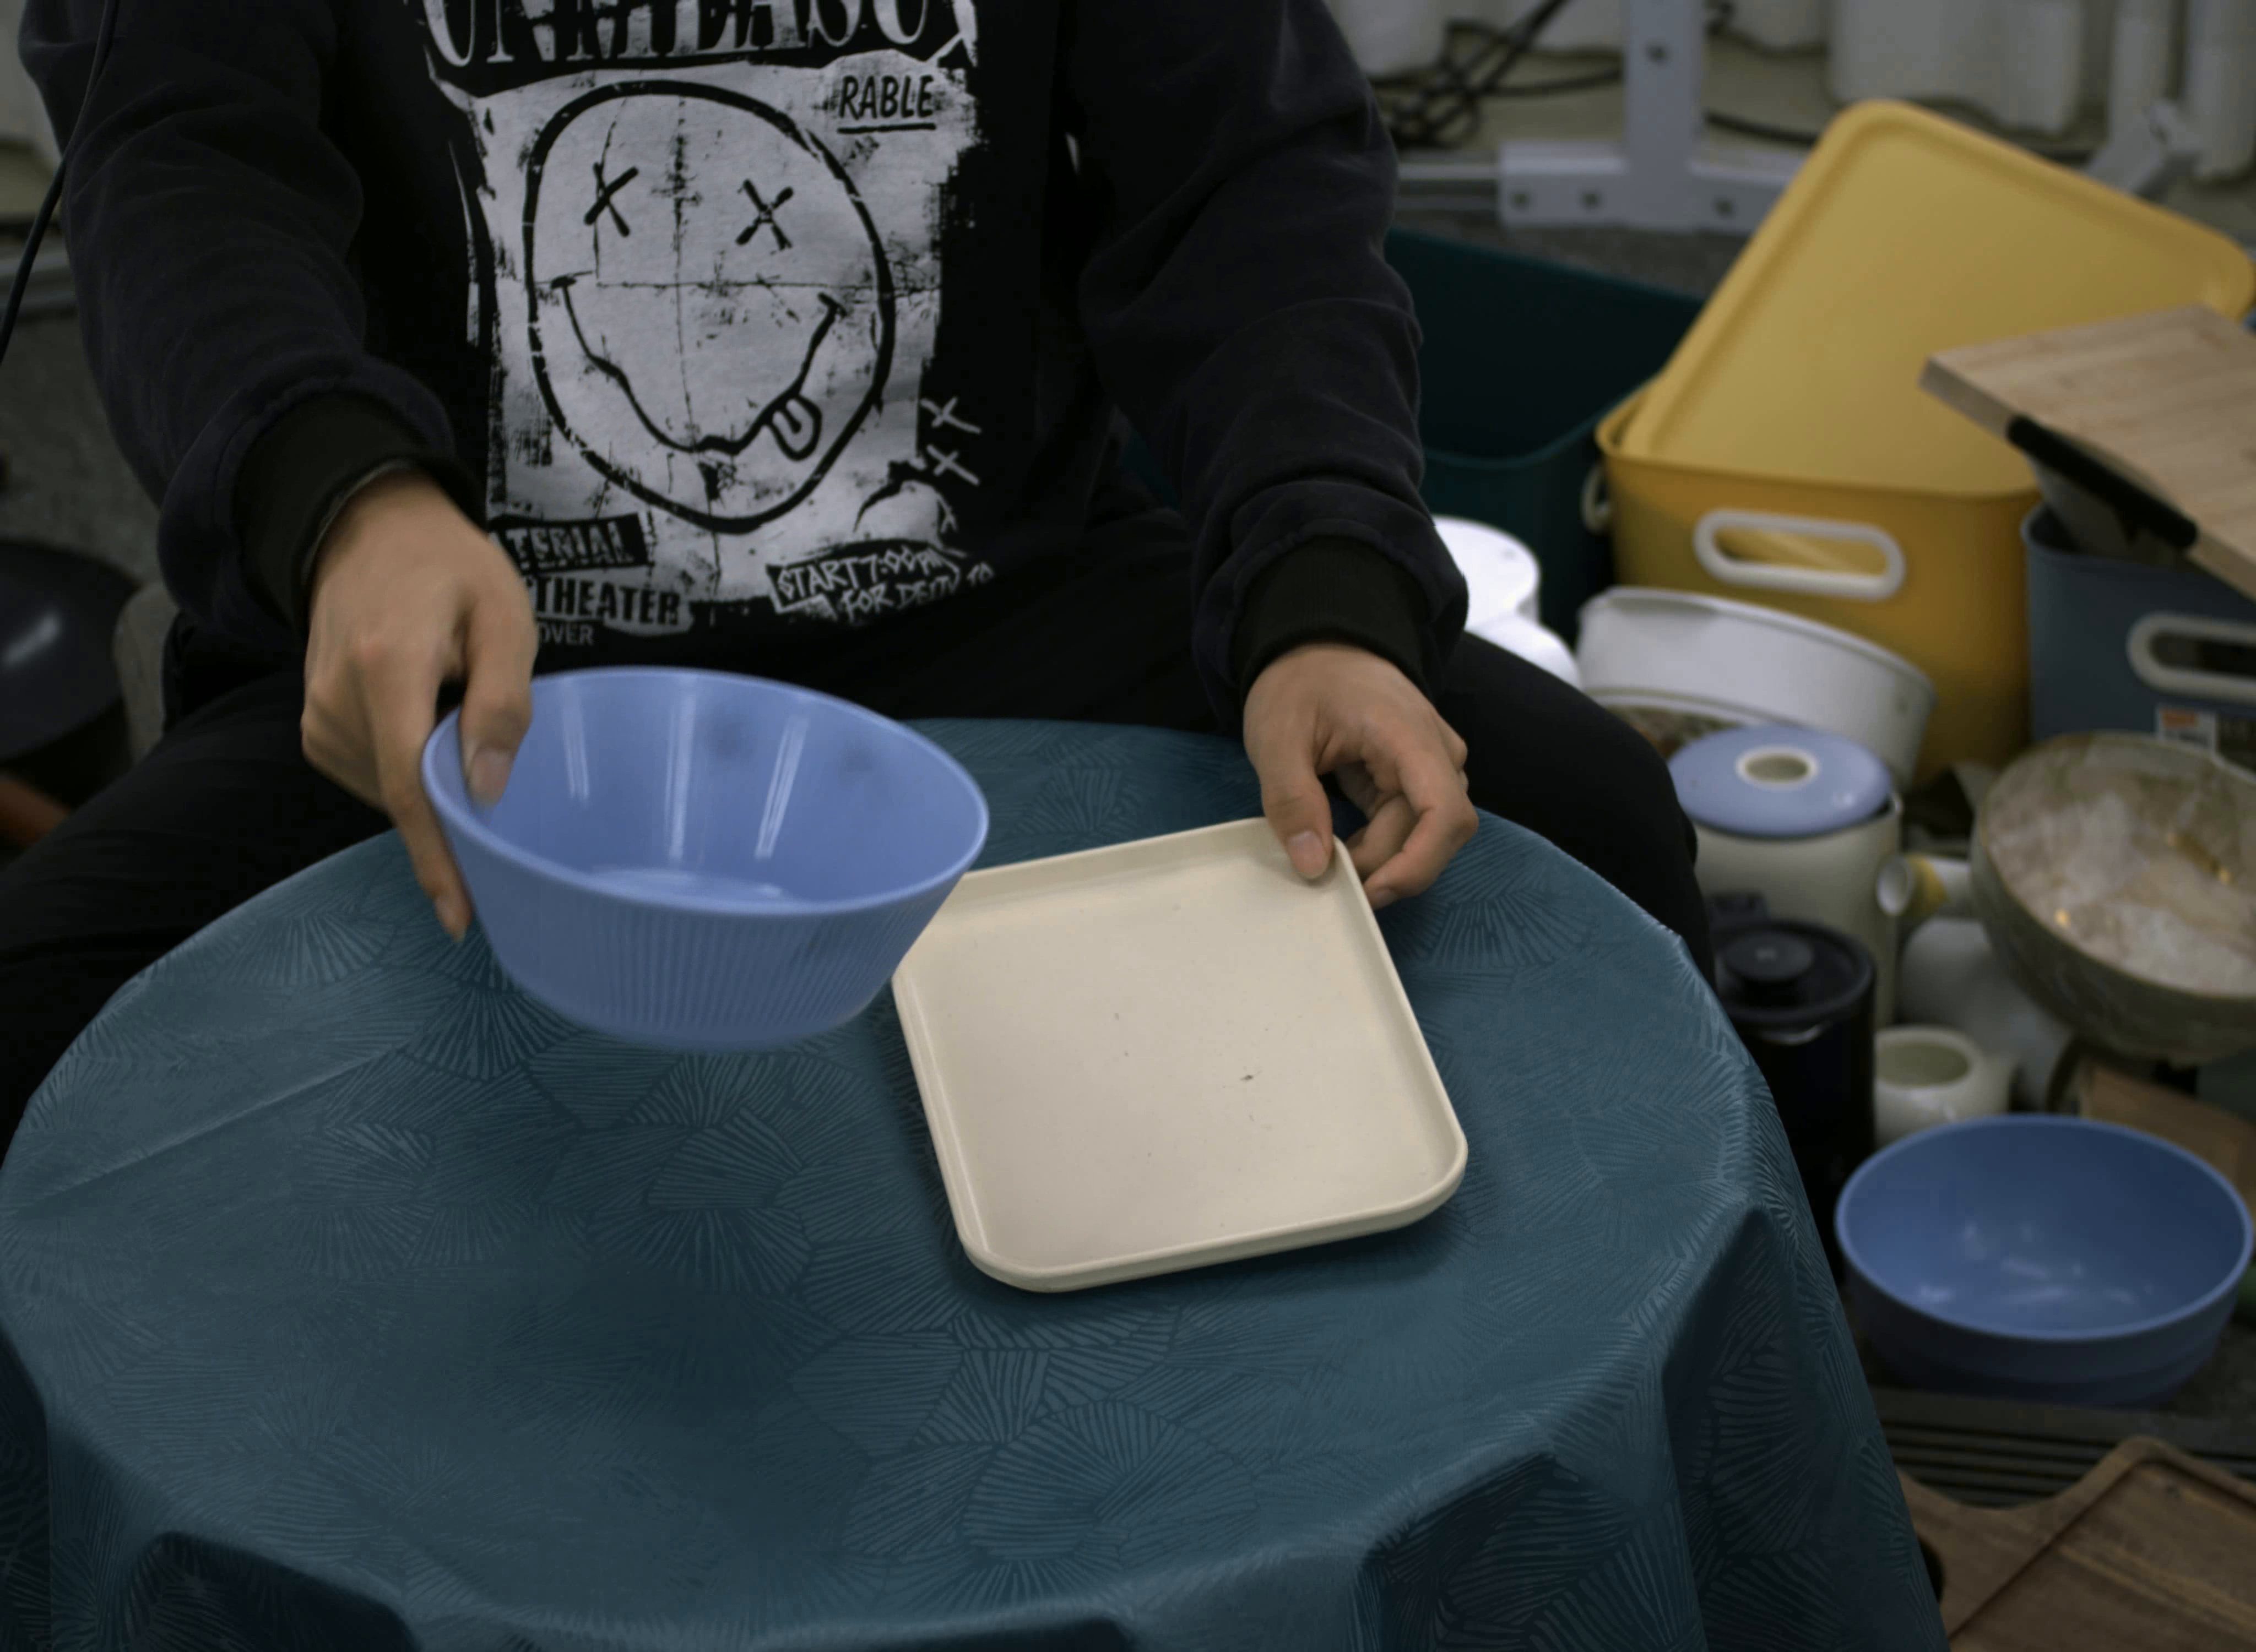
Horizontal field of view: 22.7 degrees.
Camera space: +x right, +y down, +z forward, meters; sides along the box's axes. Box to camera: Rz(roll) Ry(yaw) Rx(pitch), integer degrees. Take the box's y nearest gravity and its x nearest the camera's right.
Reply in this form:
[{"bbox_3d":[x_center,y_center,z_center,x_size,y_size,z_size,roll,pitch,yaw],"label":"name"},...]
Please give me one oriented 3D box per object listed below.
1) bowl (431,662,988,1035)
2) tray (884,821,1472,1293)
[{"bbox_3d":[-0.135,0.012,1.760,0.175,0.069,0.178,9,22,-3],"label":"bowl"},{"bbox_3d":[0.013,0.077,1.903,0.171,0.017,0.243,-9,33,-7],"label":"tray"}]
